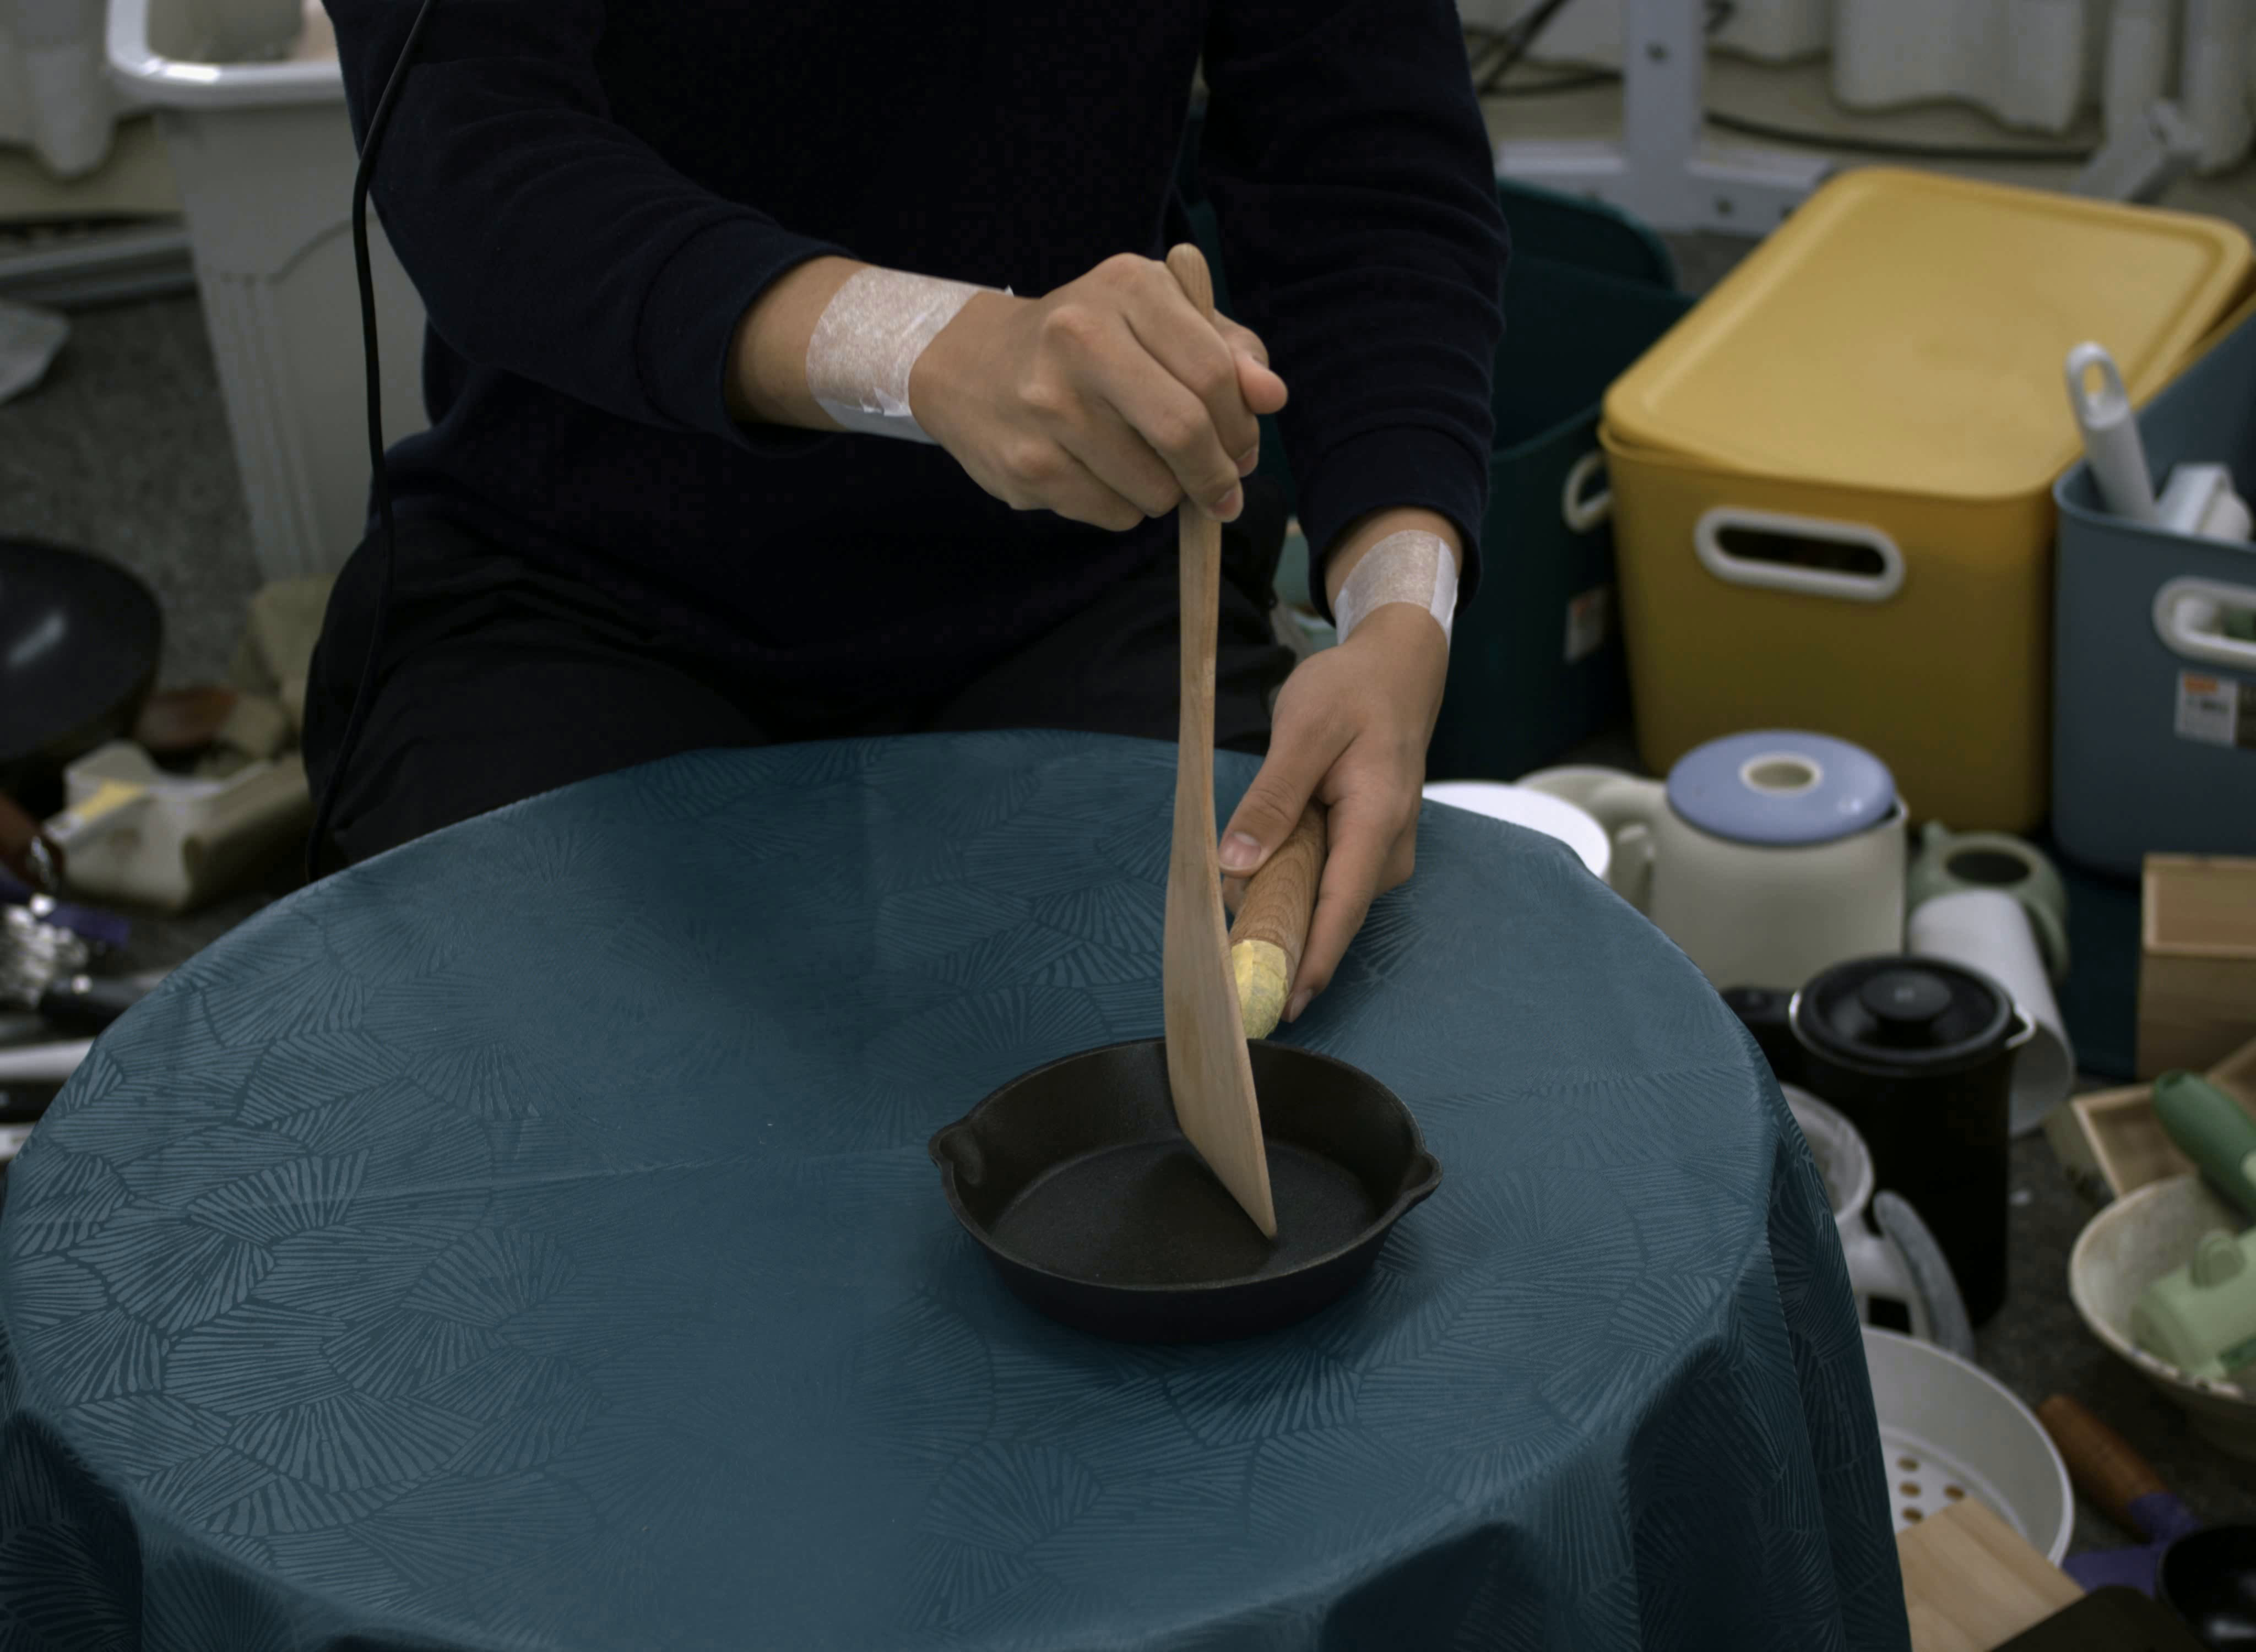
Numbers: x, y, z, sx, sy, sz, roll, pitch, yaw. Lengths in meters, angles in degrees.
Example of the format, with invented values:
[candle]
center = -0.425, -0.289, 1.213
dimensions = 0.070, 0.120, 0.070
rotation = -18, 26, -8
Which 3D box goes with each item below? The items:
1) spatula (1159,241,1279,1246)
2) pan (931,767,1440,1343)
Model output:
[spatula]
center = 0.026, -0.027, 1.801
dimensions = 0.016, 0.325, 0.080
rotation = -8, 19, -22
[pan]
center = 0.038, 0.074, 1.896
dimensions = 0.168, 0.049, 0.330
rotation = 4, 29, 13
